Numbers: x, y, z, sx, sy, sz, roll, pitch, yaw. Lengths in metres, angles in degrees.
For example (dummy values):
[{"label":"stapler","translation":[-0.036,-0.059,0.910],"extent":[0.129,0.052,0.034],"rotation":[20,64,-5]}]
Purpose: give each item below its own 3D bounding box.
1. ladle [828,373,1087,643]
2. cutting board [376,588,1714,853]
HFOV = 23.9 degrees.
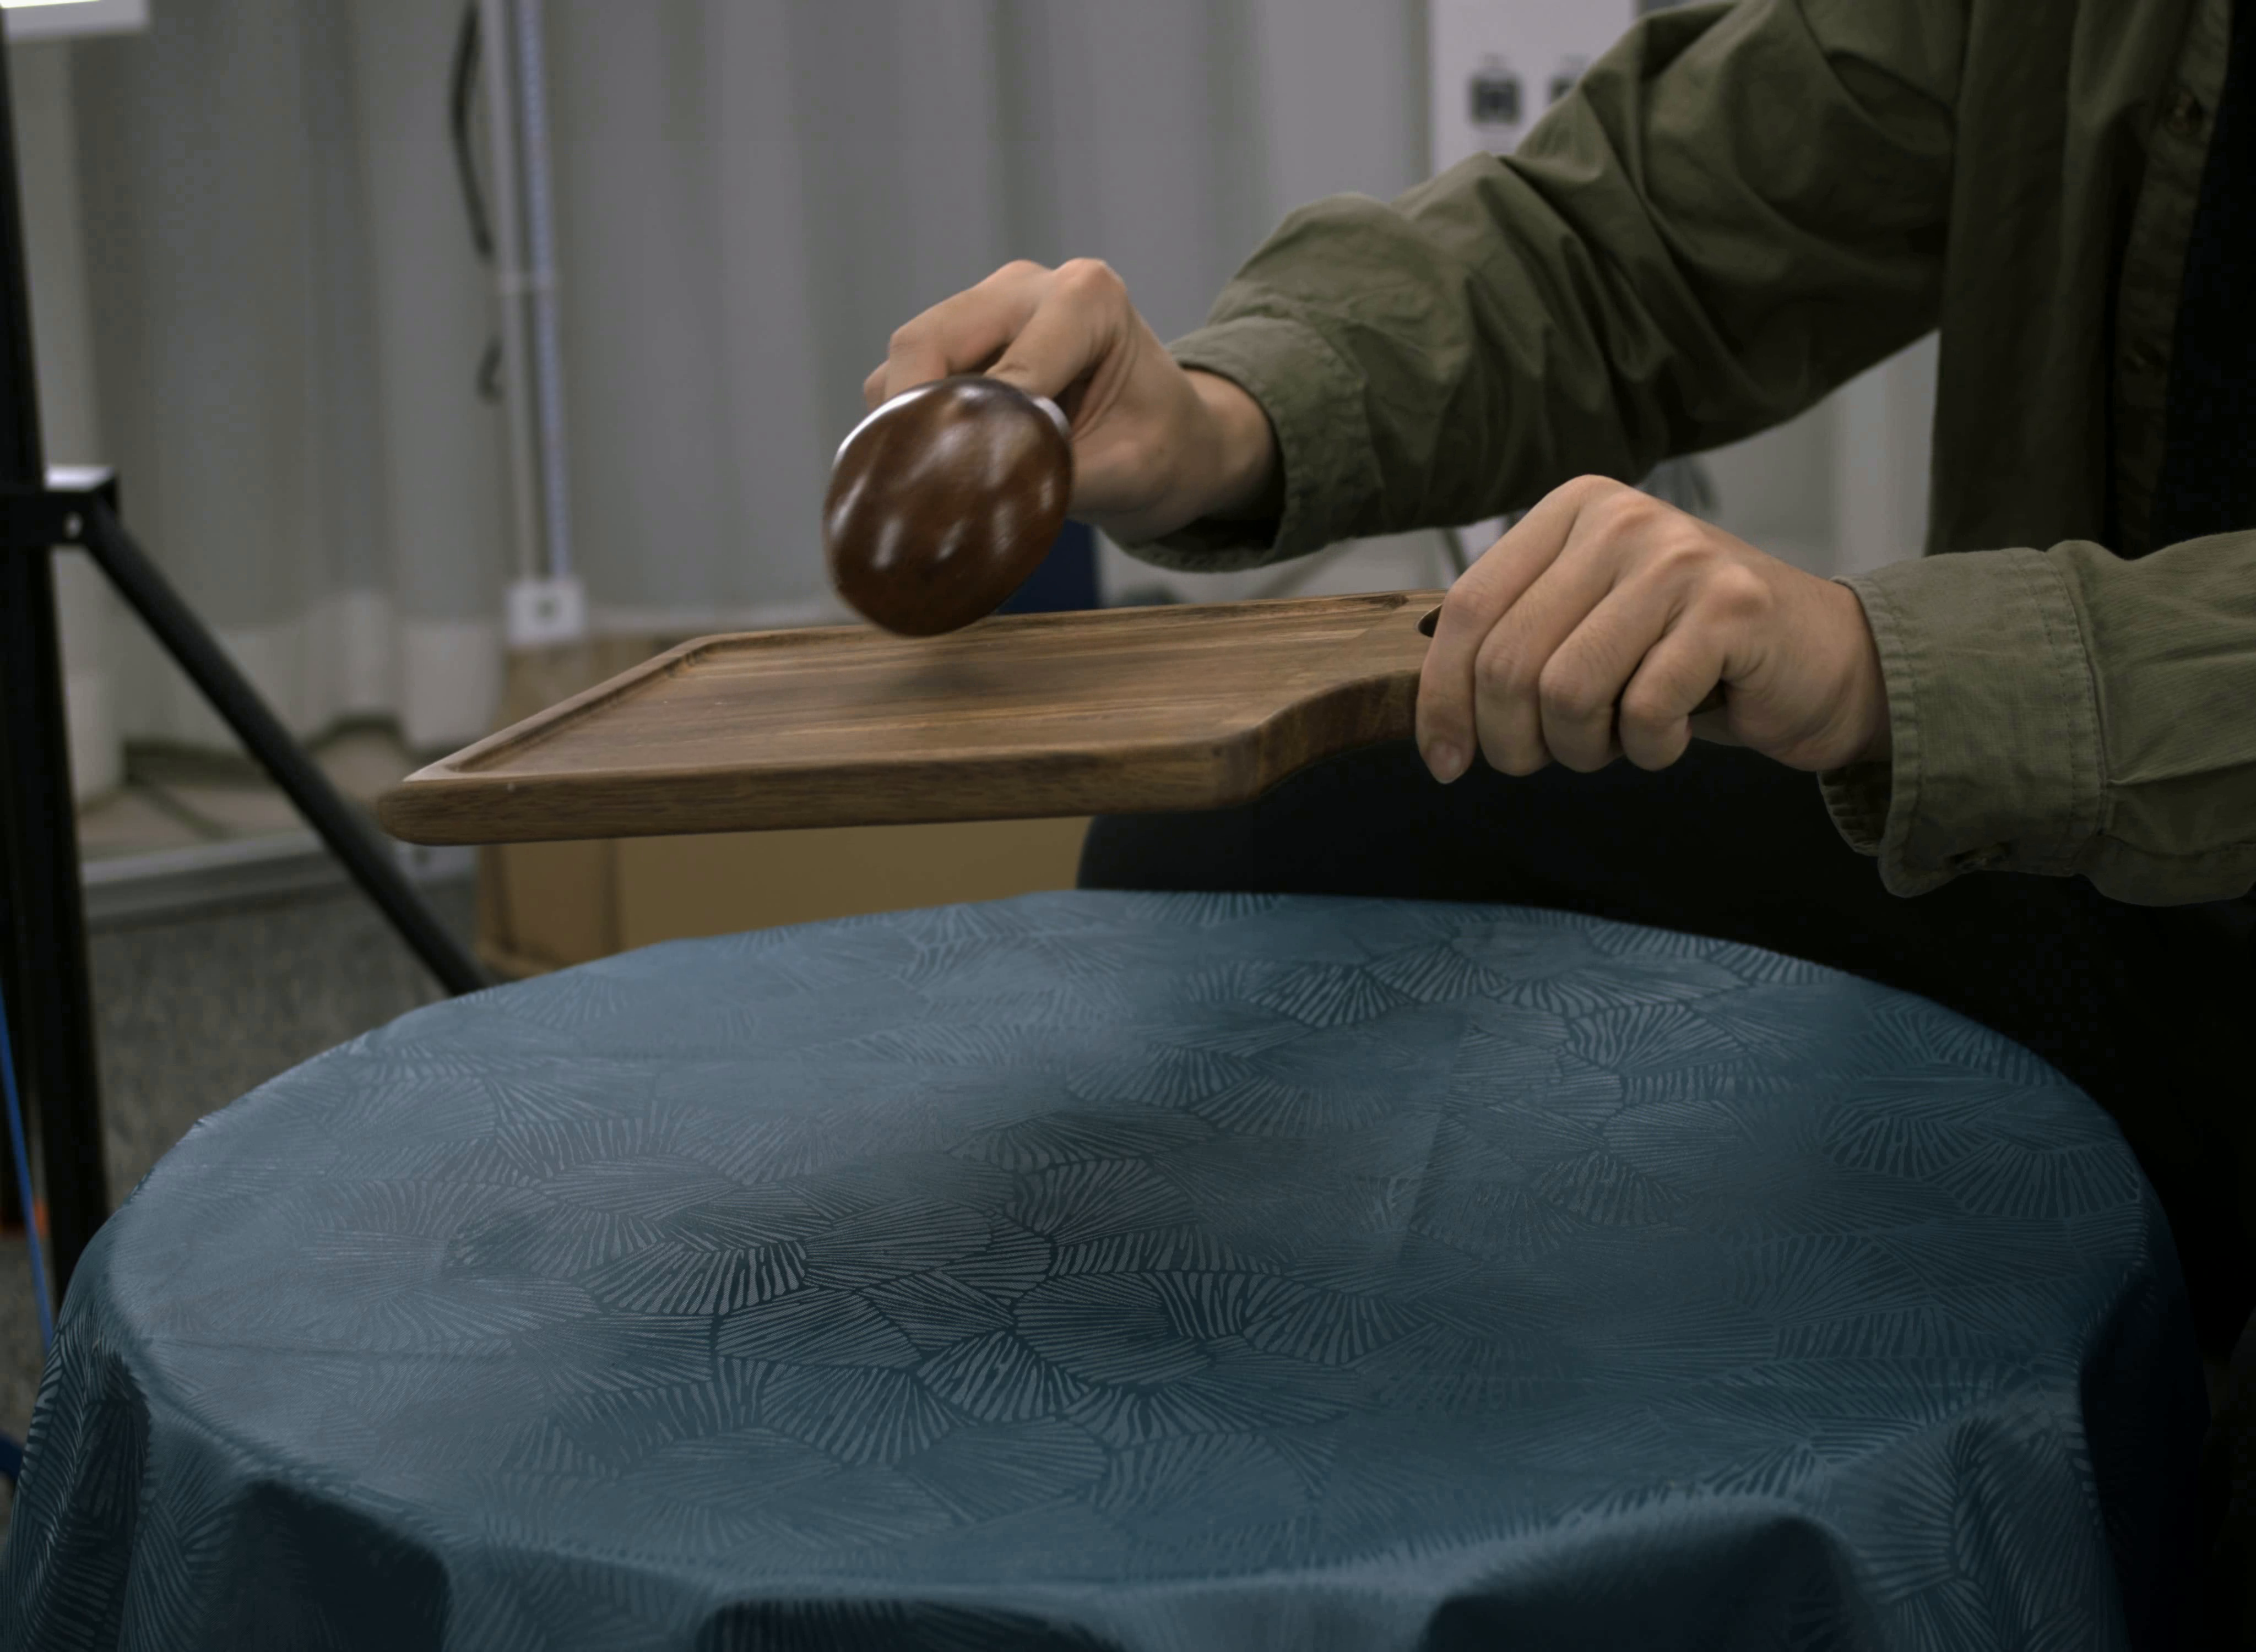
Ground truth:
[{"label":"ladle","translation":[-0.037,-0.092,1.604],"extent":[0.082,0.077,0.272],"rotation":[-39,-5,5]},{"label":"cutting board","translation":[-0.011,-0.031,1.454],"extent":[0.357,0.023,0.198],"rotation":[-2,14,26]}]
